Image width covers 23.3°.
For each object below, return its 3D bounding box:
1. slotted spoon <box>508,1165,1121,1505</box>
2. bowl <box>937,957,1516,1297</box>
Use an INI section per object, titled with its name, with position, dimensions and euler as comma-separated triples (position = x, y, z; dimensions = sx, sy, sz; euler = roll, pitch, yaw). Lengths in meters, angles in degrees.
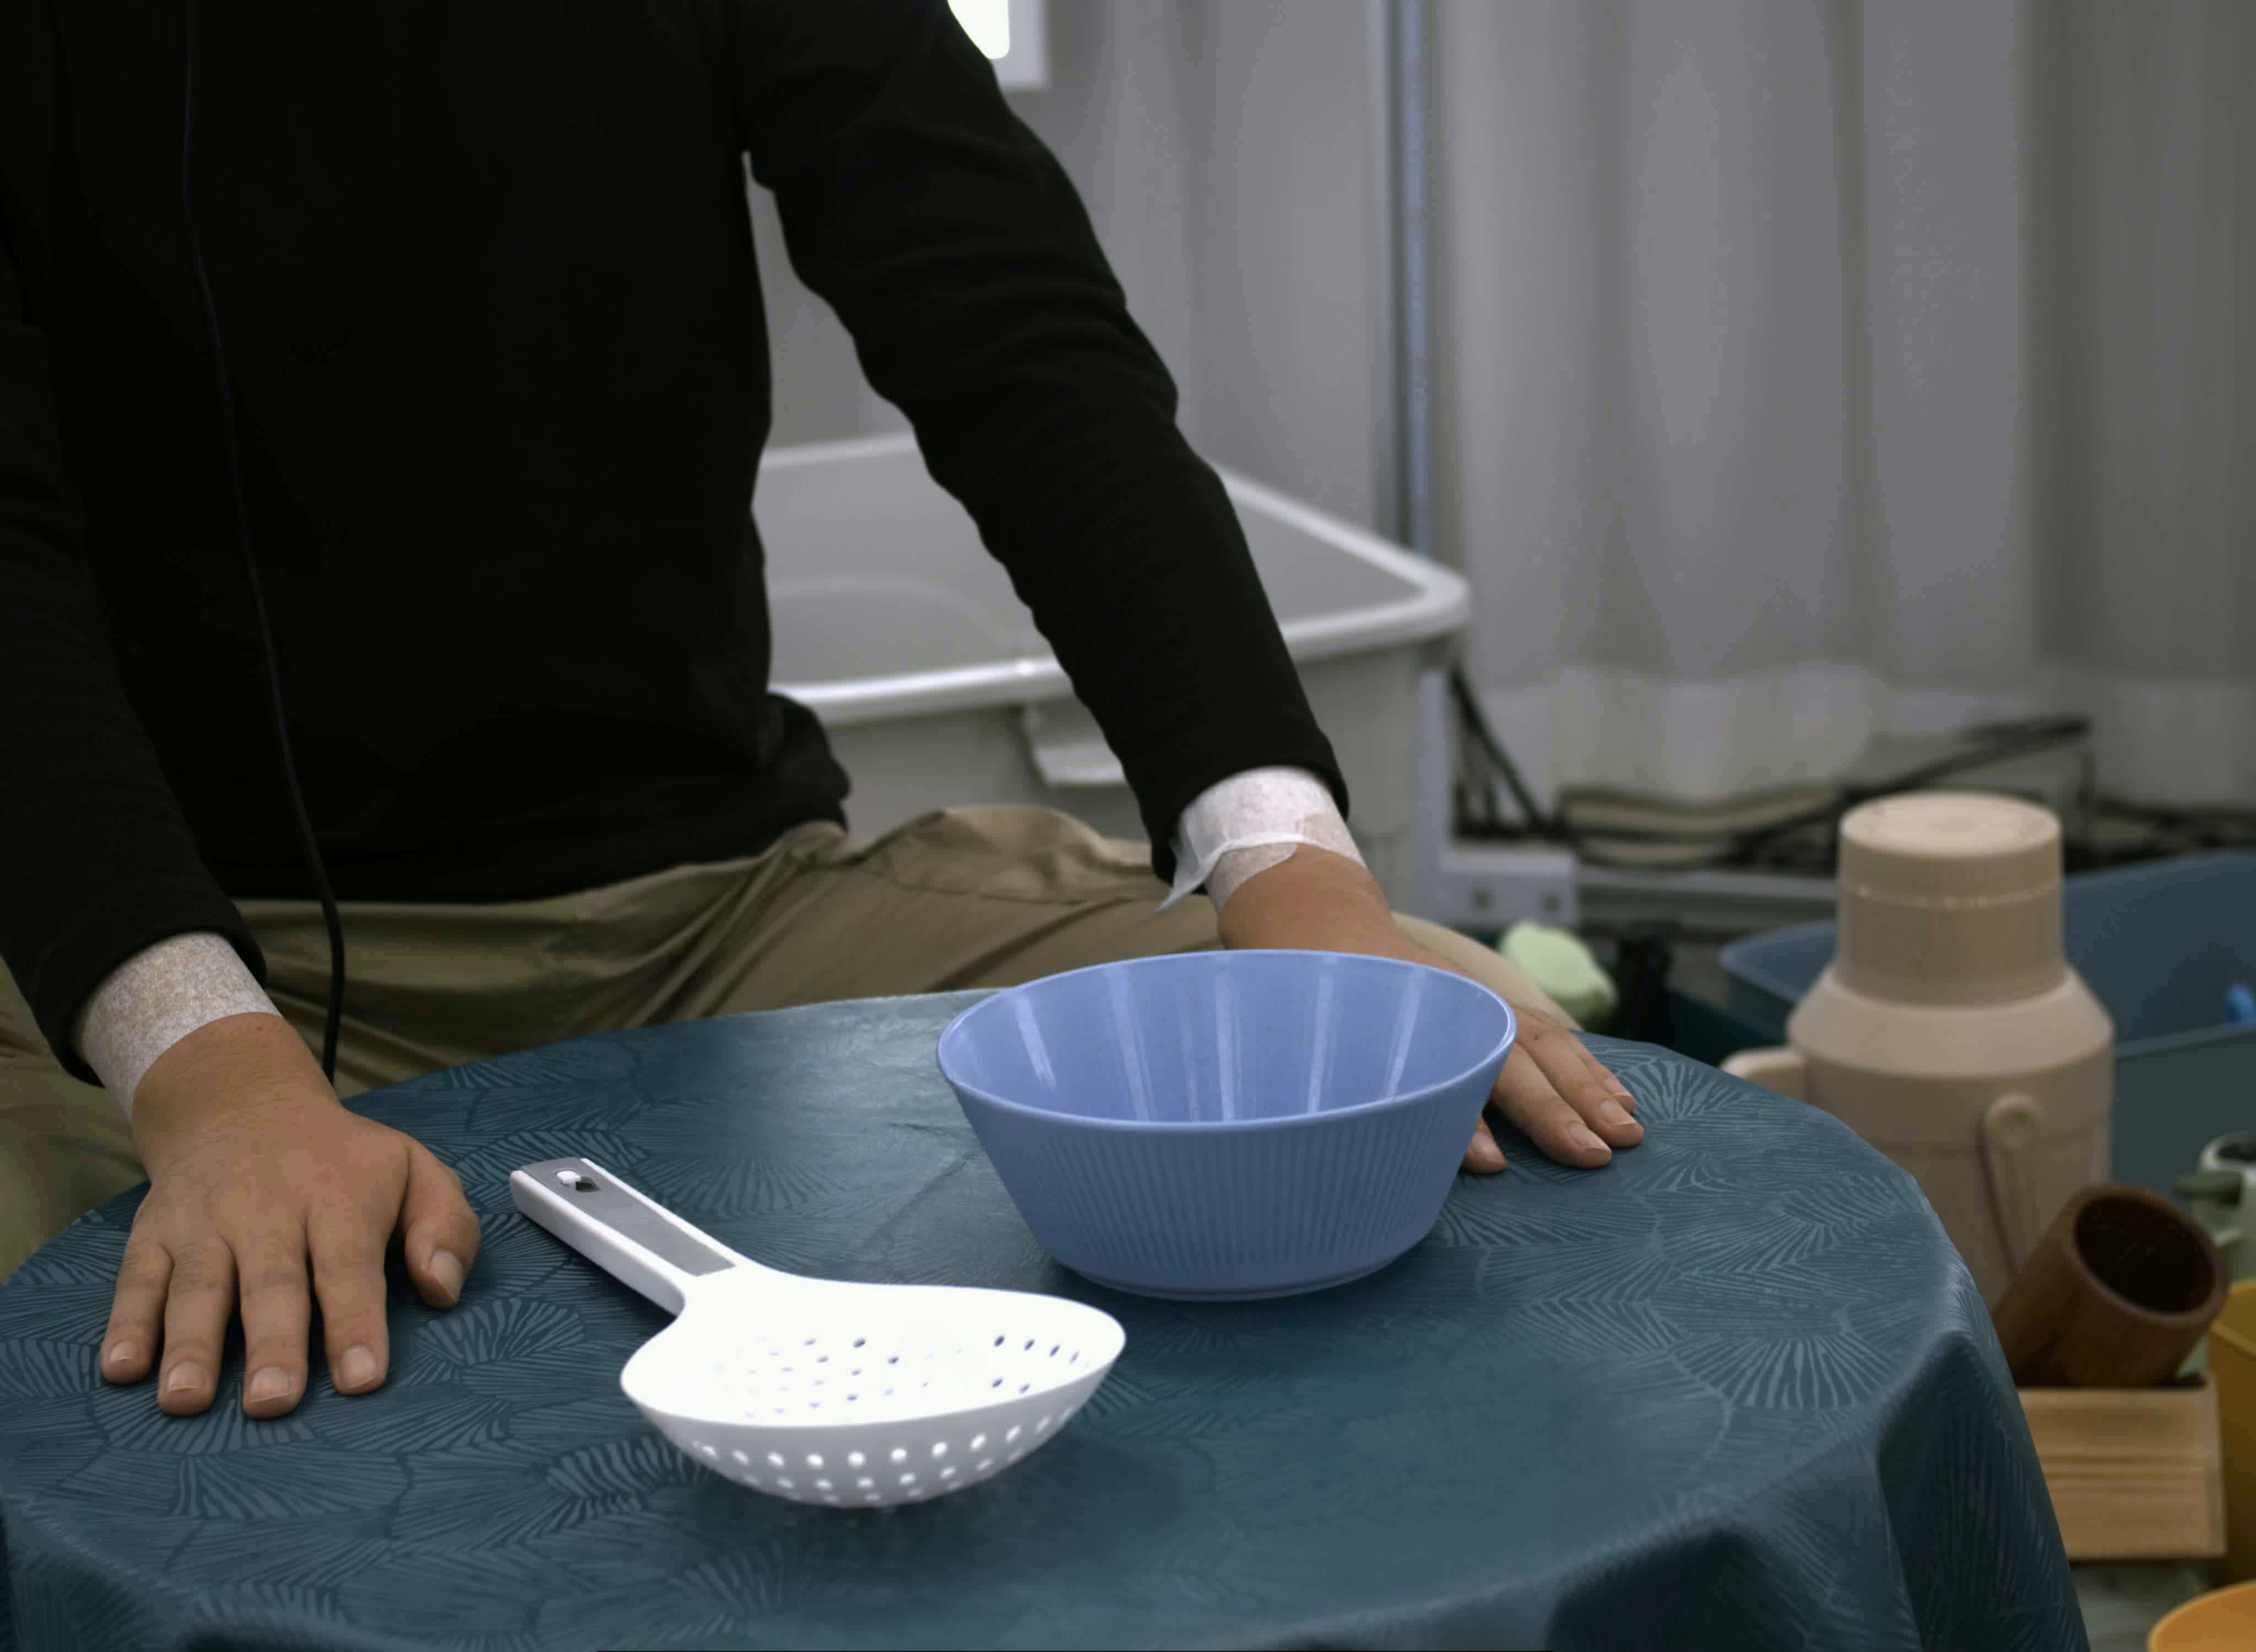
[slotted spoon]
position = -0.113, 0.136, 1.568
dimensions = 0.135, 0.045, 0.352
euler = -9, 15, -23
[bowl]
position = 0.031, 0.093, 1.655
dimensions = 0.175, 0.070, 0.177
euler = -3, 13, 0
